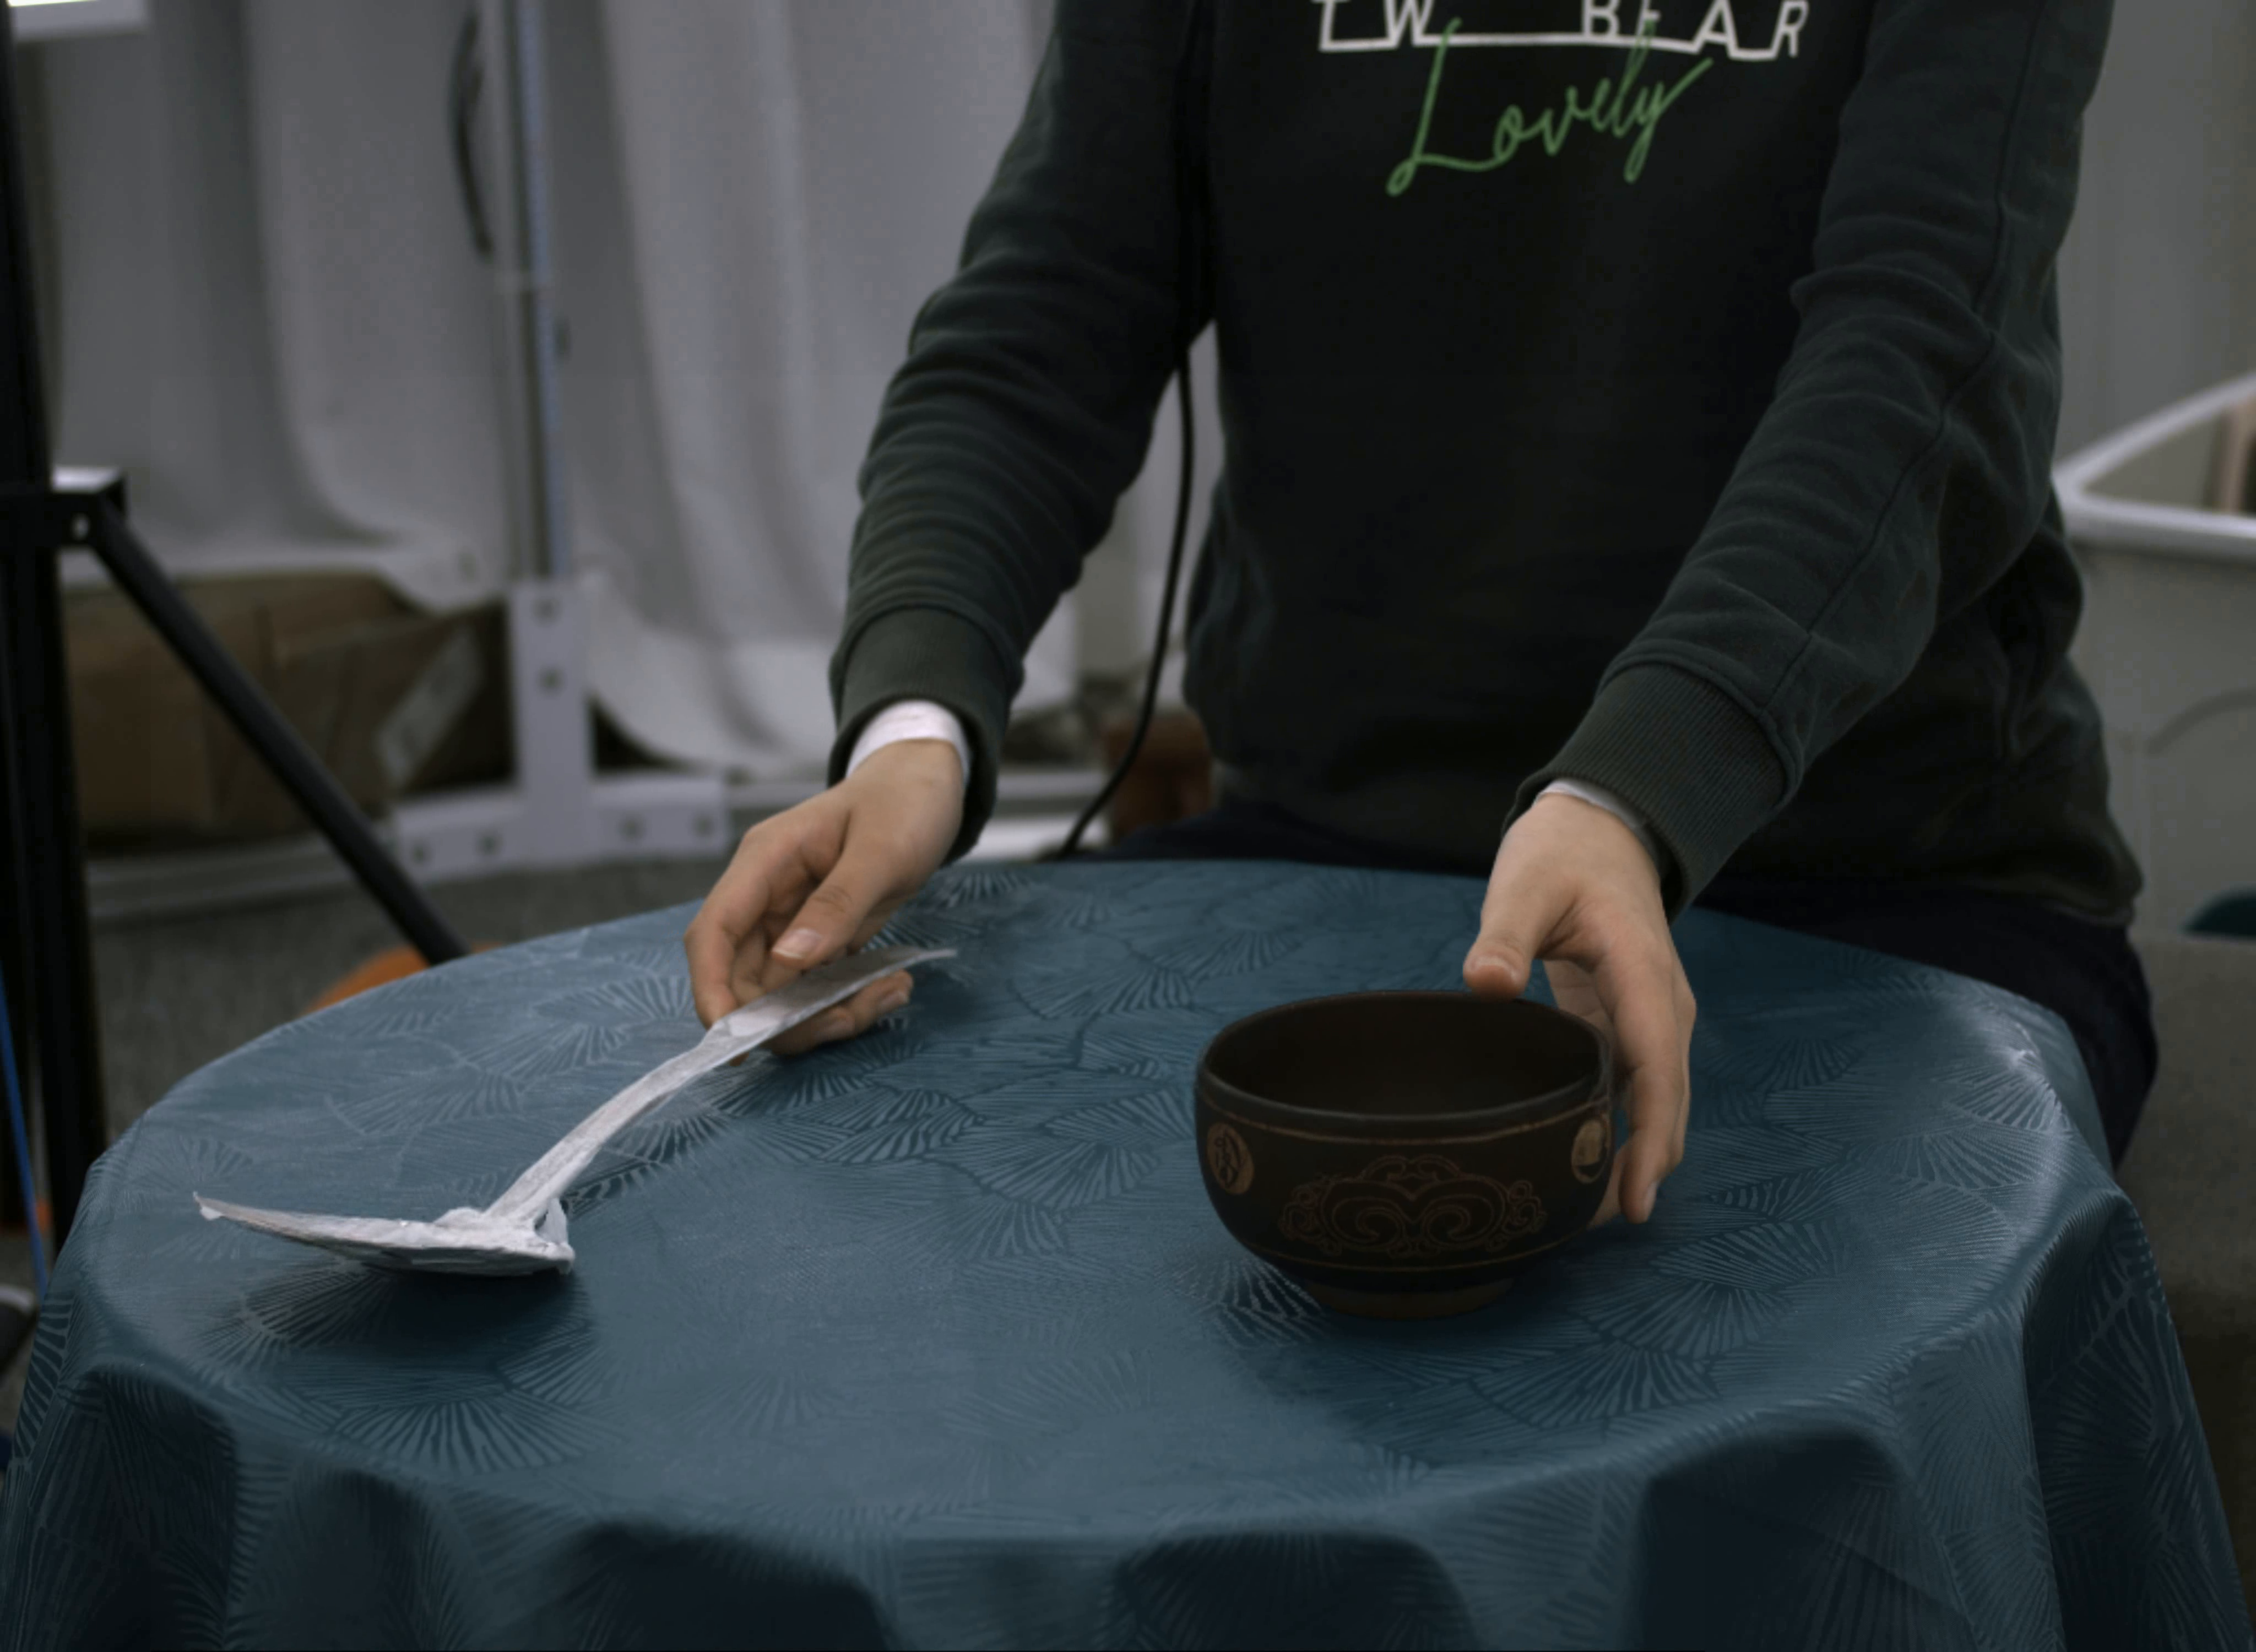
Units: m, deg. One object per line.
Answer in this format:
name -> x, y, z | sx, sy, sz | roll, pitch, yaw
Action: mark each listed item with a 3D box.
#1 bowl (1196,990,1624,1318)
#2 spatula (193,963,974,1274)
bowl -> 0.078, 0.094, 1.464 | 0.117, 0.070, 0.118 | -1, 14, -1
spatula -> -0.143, 0.078, 1.609 | 0.100, 0.045, 0.359 | 4, 18, 27
